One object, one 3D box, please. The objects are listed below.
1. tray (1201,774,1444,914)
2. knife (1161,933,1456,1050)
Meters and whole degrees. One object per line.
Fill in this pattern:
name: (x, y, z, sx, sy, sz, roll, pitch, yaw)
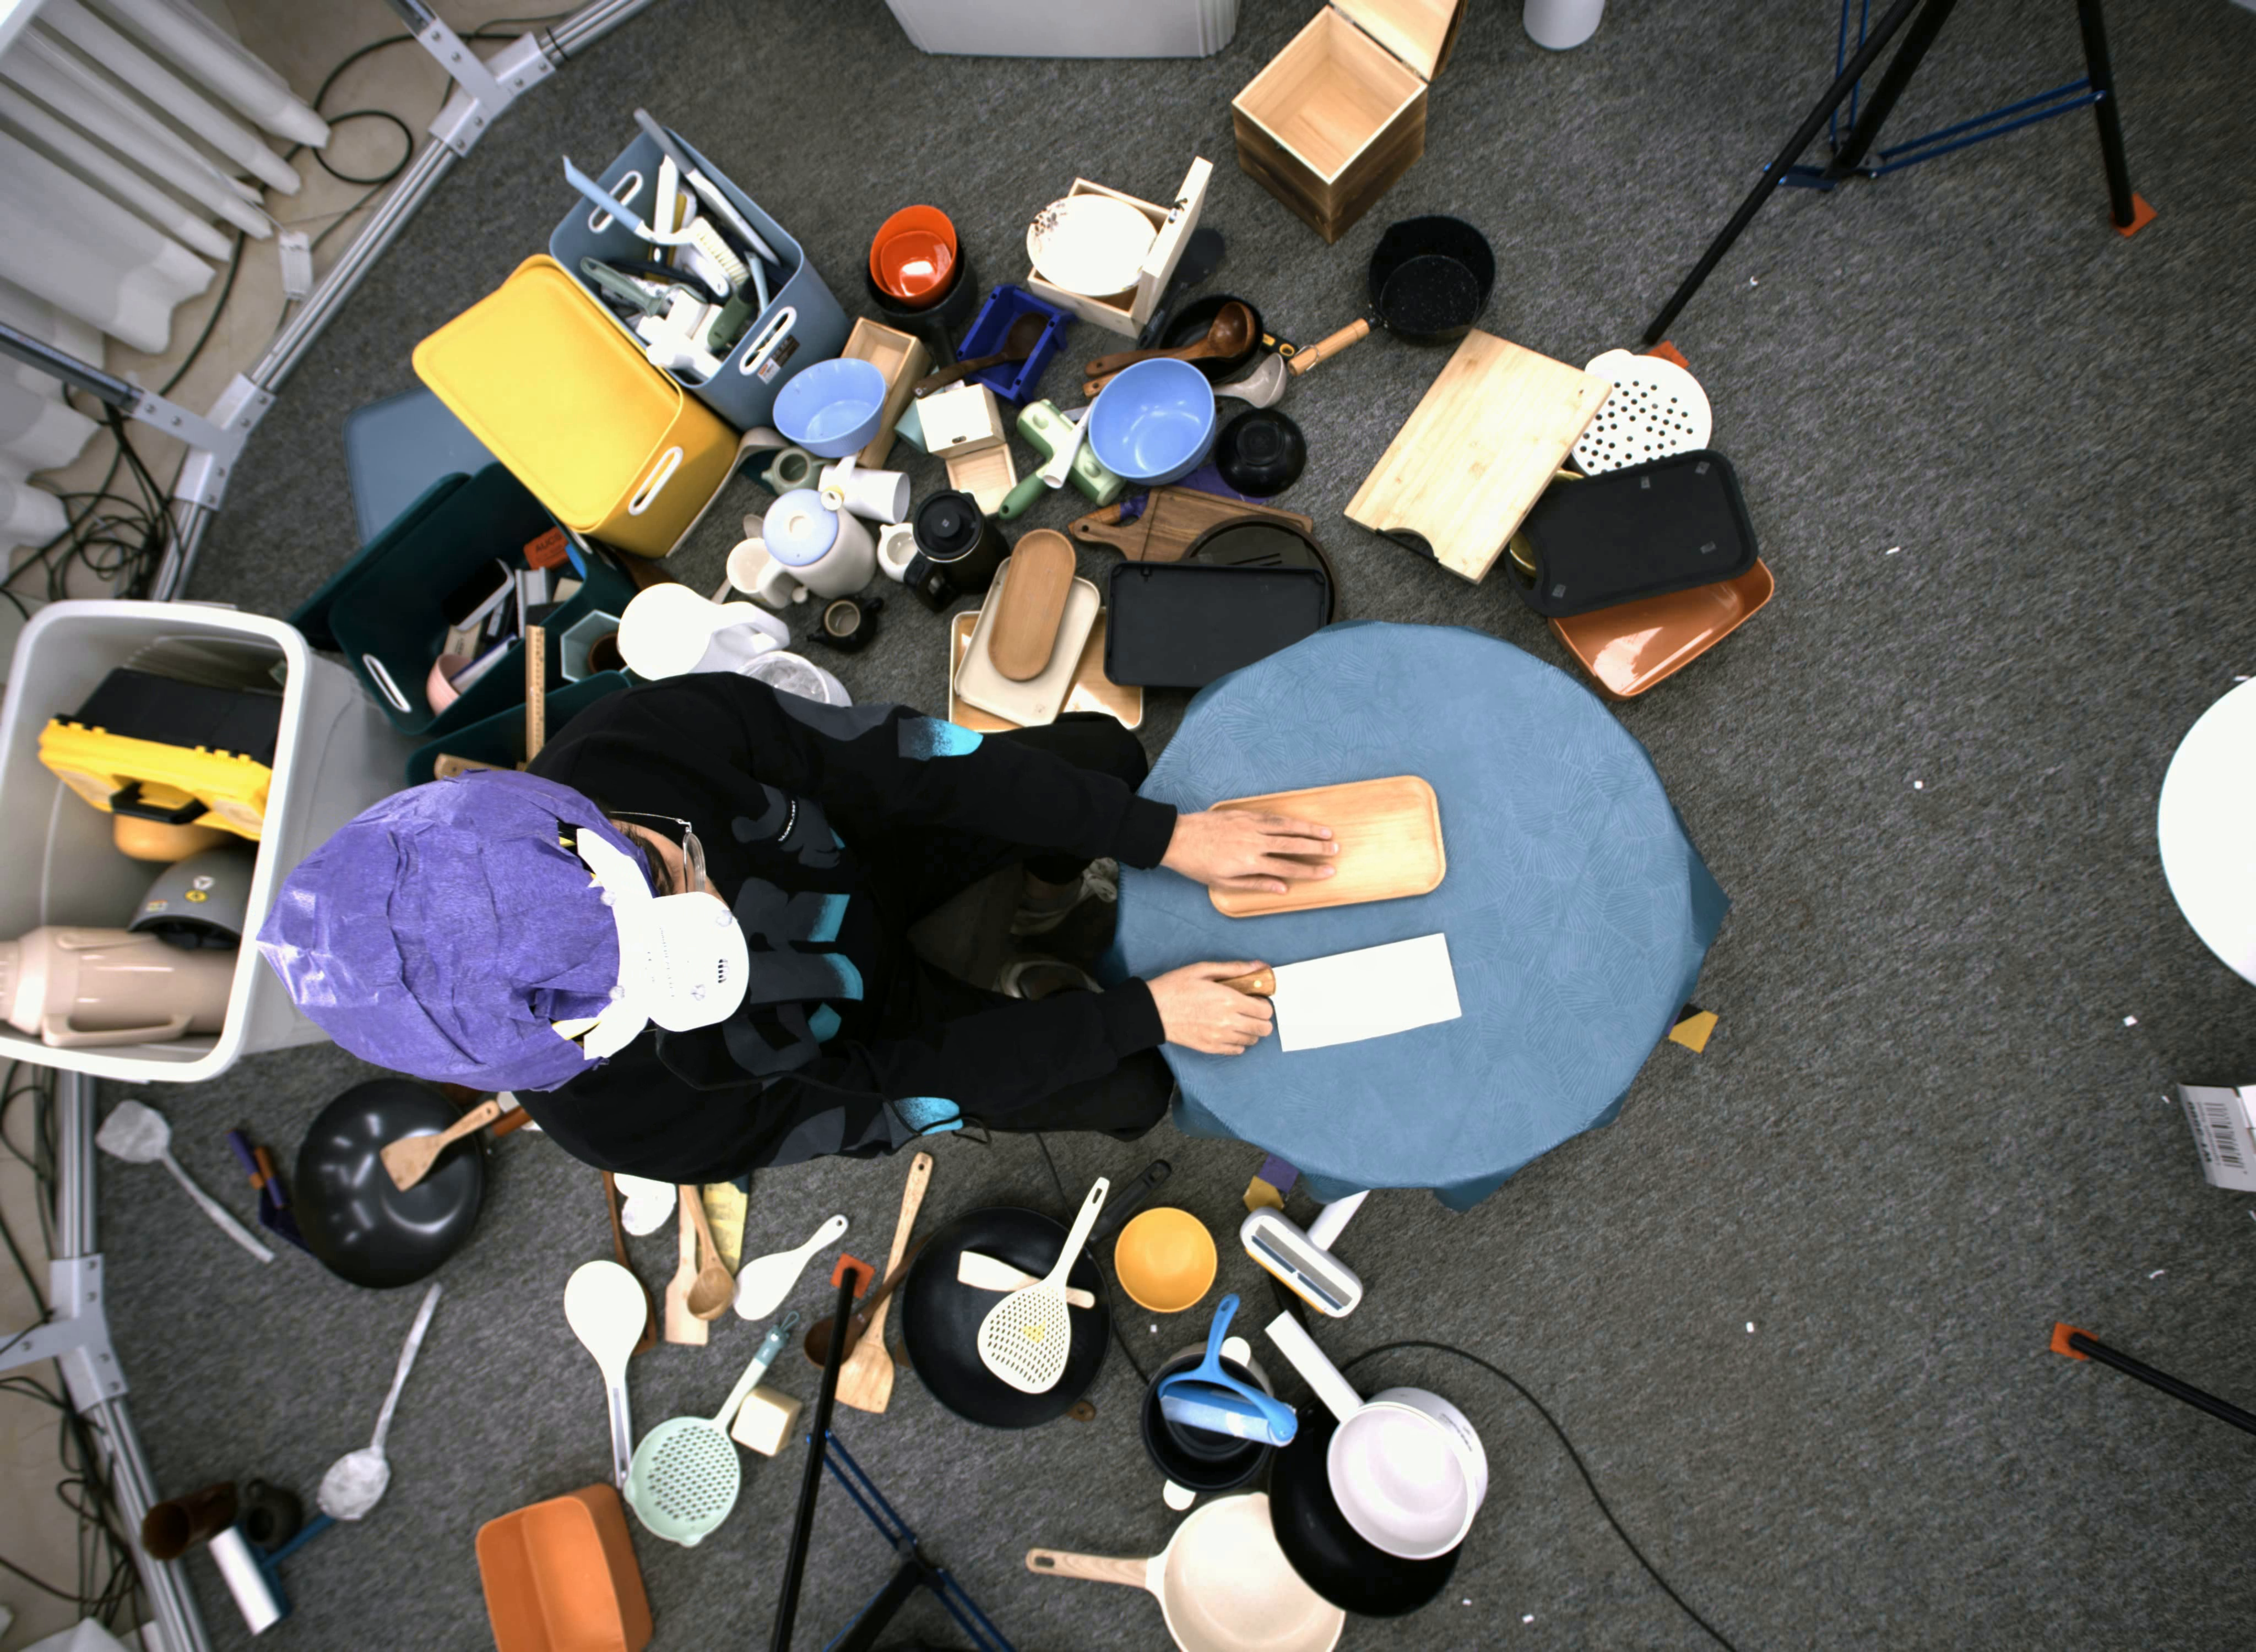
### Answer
tray: (0.205, 0.019, 1.467, 0.252, 0.023, 0.129, -6, 84, 11)
knife: (0.191, 0.184, 1.461, 0.307, 0.021, 0.093, -13, 92, 9)
